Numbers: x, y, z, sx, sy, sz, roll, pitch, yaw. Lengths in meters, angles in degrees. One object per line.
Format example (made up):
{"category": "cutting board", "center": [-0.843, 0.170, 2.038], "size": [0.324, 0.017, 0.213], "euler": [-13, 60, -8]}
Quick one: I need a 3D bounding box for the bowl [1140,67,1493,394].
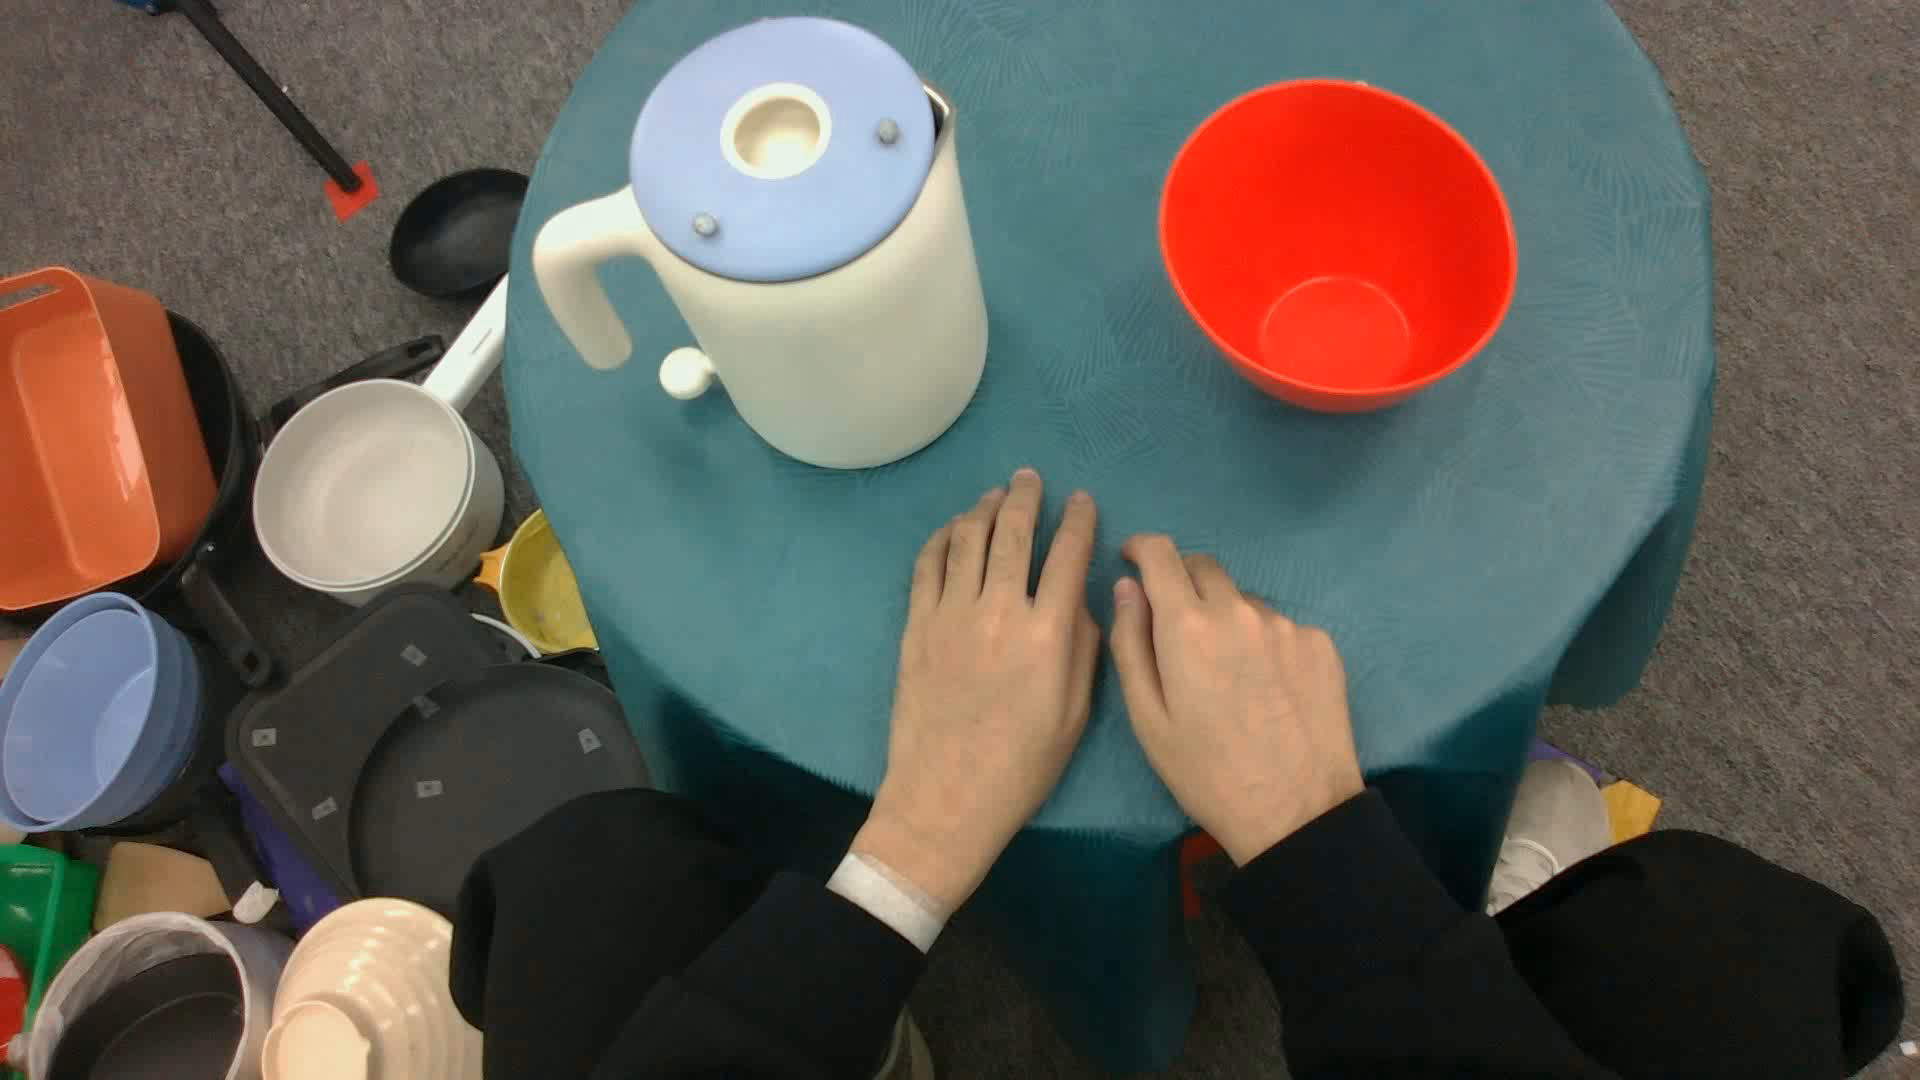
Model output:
{"category": "bowl", "center": [0.154, -0.123, 0.615], "size": [0.148, 0.104, 0.148], "euler": [-2, 69, 6]}

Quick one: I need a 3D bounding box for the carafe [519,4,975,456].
{"category": "carafe", "center": [-0.090, -0.121, 0.602], "size": [0.191, 0.182, 0.132], "euler": [-16, 67, 2]}
